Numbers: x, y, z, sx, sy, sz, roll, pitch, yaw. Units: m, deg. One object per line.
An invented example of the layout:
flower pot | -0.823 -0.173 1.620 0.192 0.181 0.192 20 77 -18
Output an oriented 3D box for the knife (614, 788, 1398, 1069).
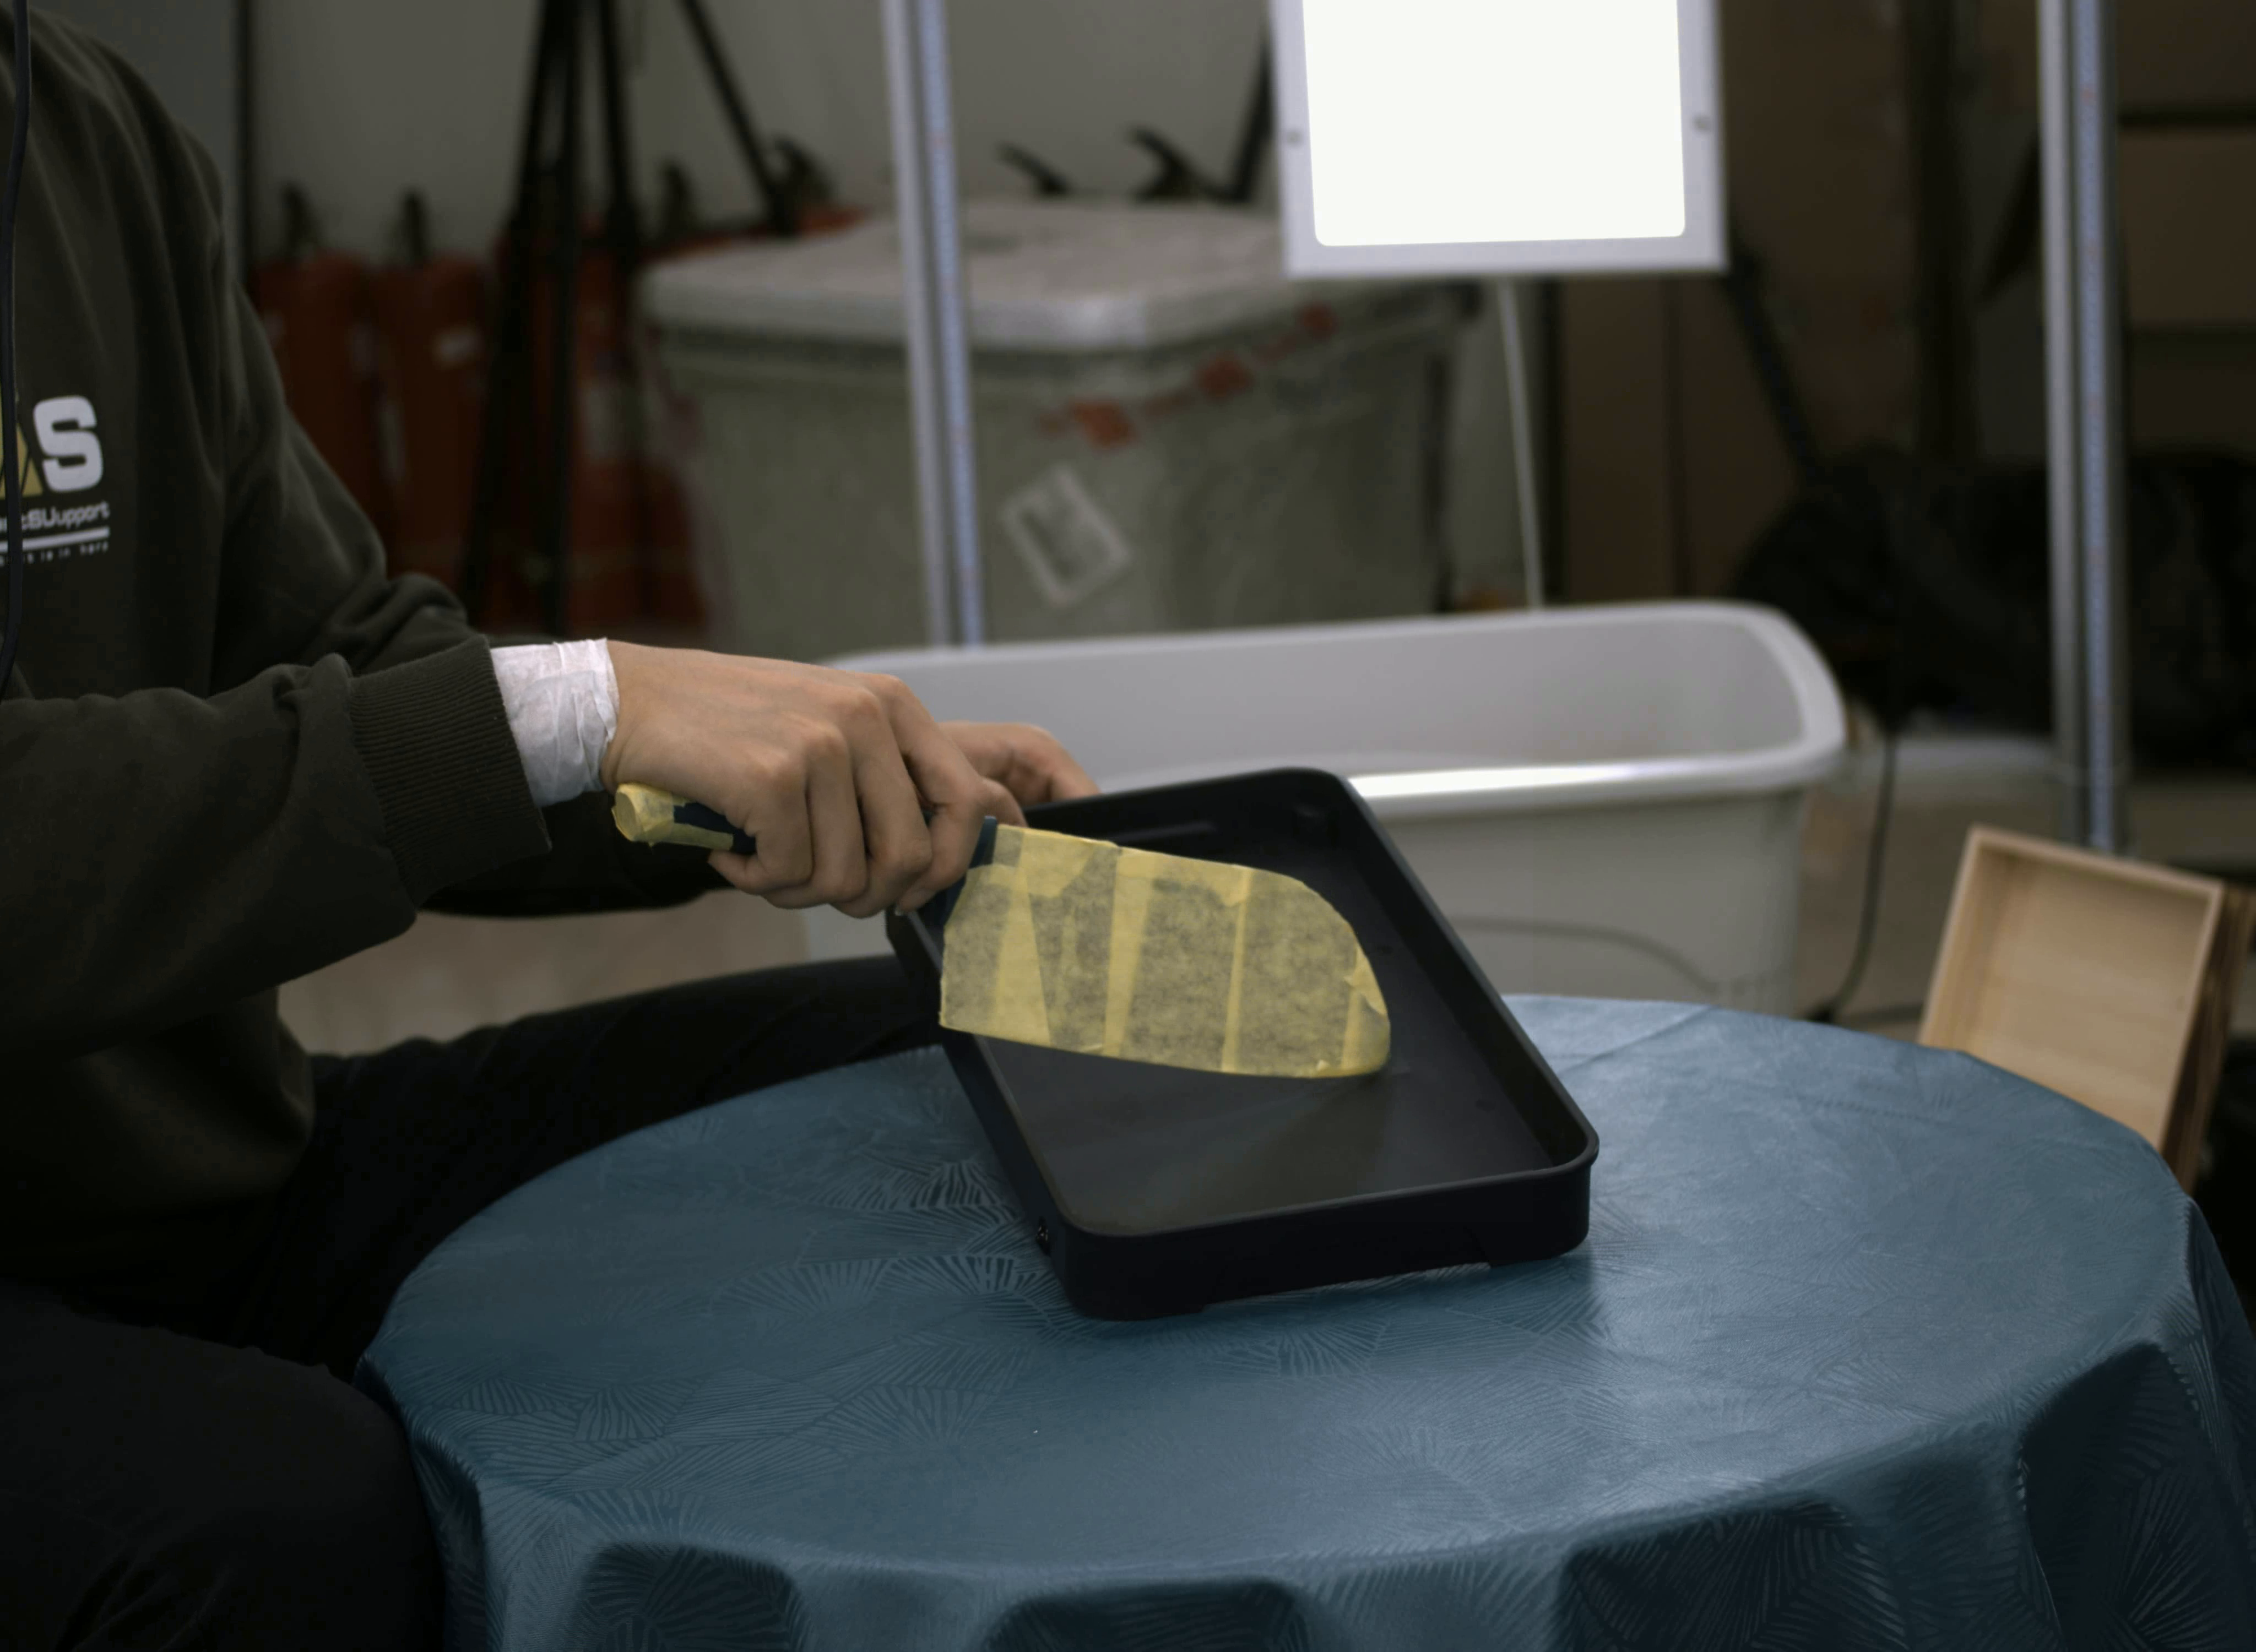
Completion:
knife | -0.038 0.035 1.858 0.285 0.081 0.027 12 -13 -18

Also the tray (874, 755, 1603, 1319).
tray | 0.030 0.067 1.915 0.182 0.037 0.320 -10 28 -12
